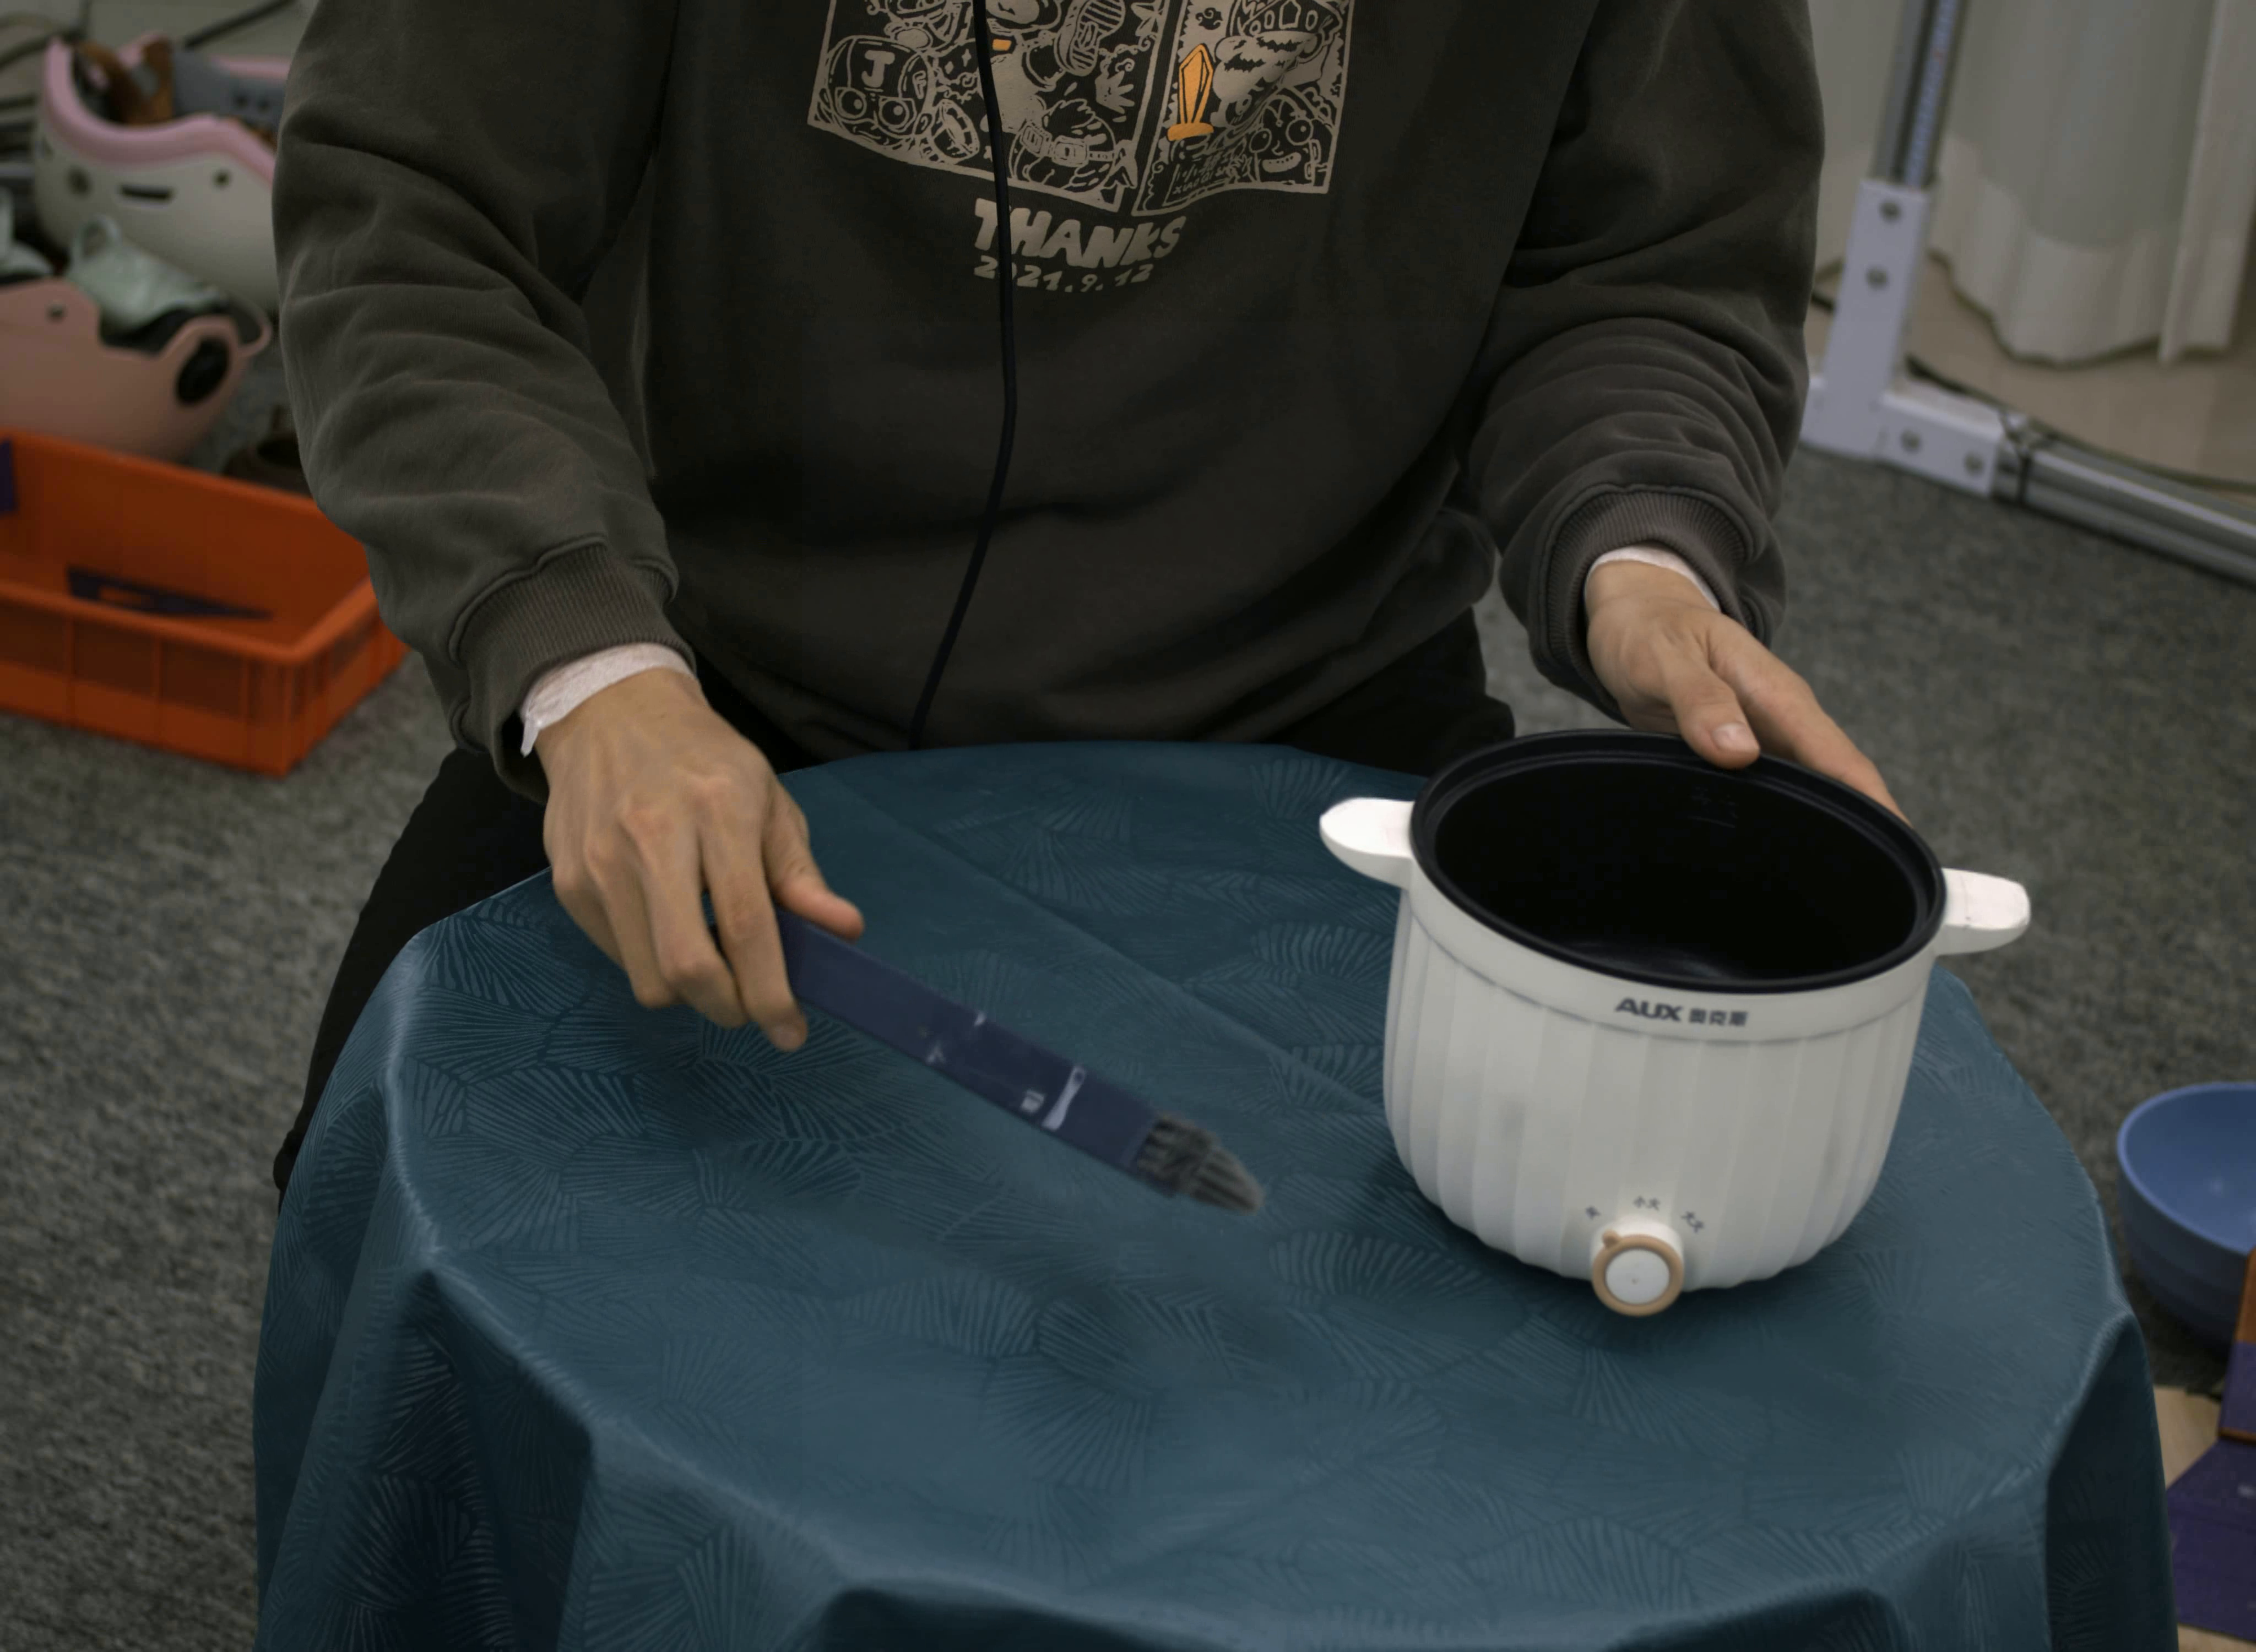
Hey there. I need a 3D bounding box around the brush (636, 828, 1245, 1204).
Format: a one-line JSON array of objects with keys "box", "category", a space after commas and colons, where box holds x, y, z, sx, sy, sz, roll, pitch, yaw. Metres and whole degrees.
[{"box": [-0.071, 0.058, 1.744, 0.275, 0.033, 0.095, 26, -4, 31], "category": "brush"}]

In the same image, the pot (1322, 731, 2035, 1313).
[{"box": [0.178, 0.069, 1.797, 0.240, 0.142, 0.191, 6, 23, 1], "category": "pot"}]
